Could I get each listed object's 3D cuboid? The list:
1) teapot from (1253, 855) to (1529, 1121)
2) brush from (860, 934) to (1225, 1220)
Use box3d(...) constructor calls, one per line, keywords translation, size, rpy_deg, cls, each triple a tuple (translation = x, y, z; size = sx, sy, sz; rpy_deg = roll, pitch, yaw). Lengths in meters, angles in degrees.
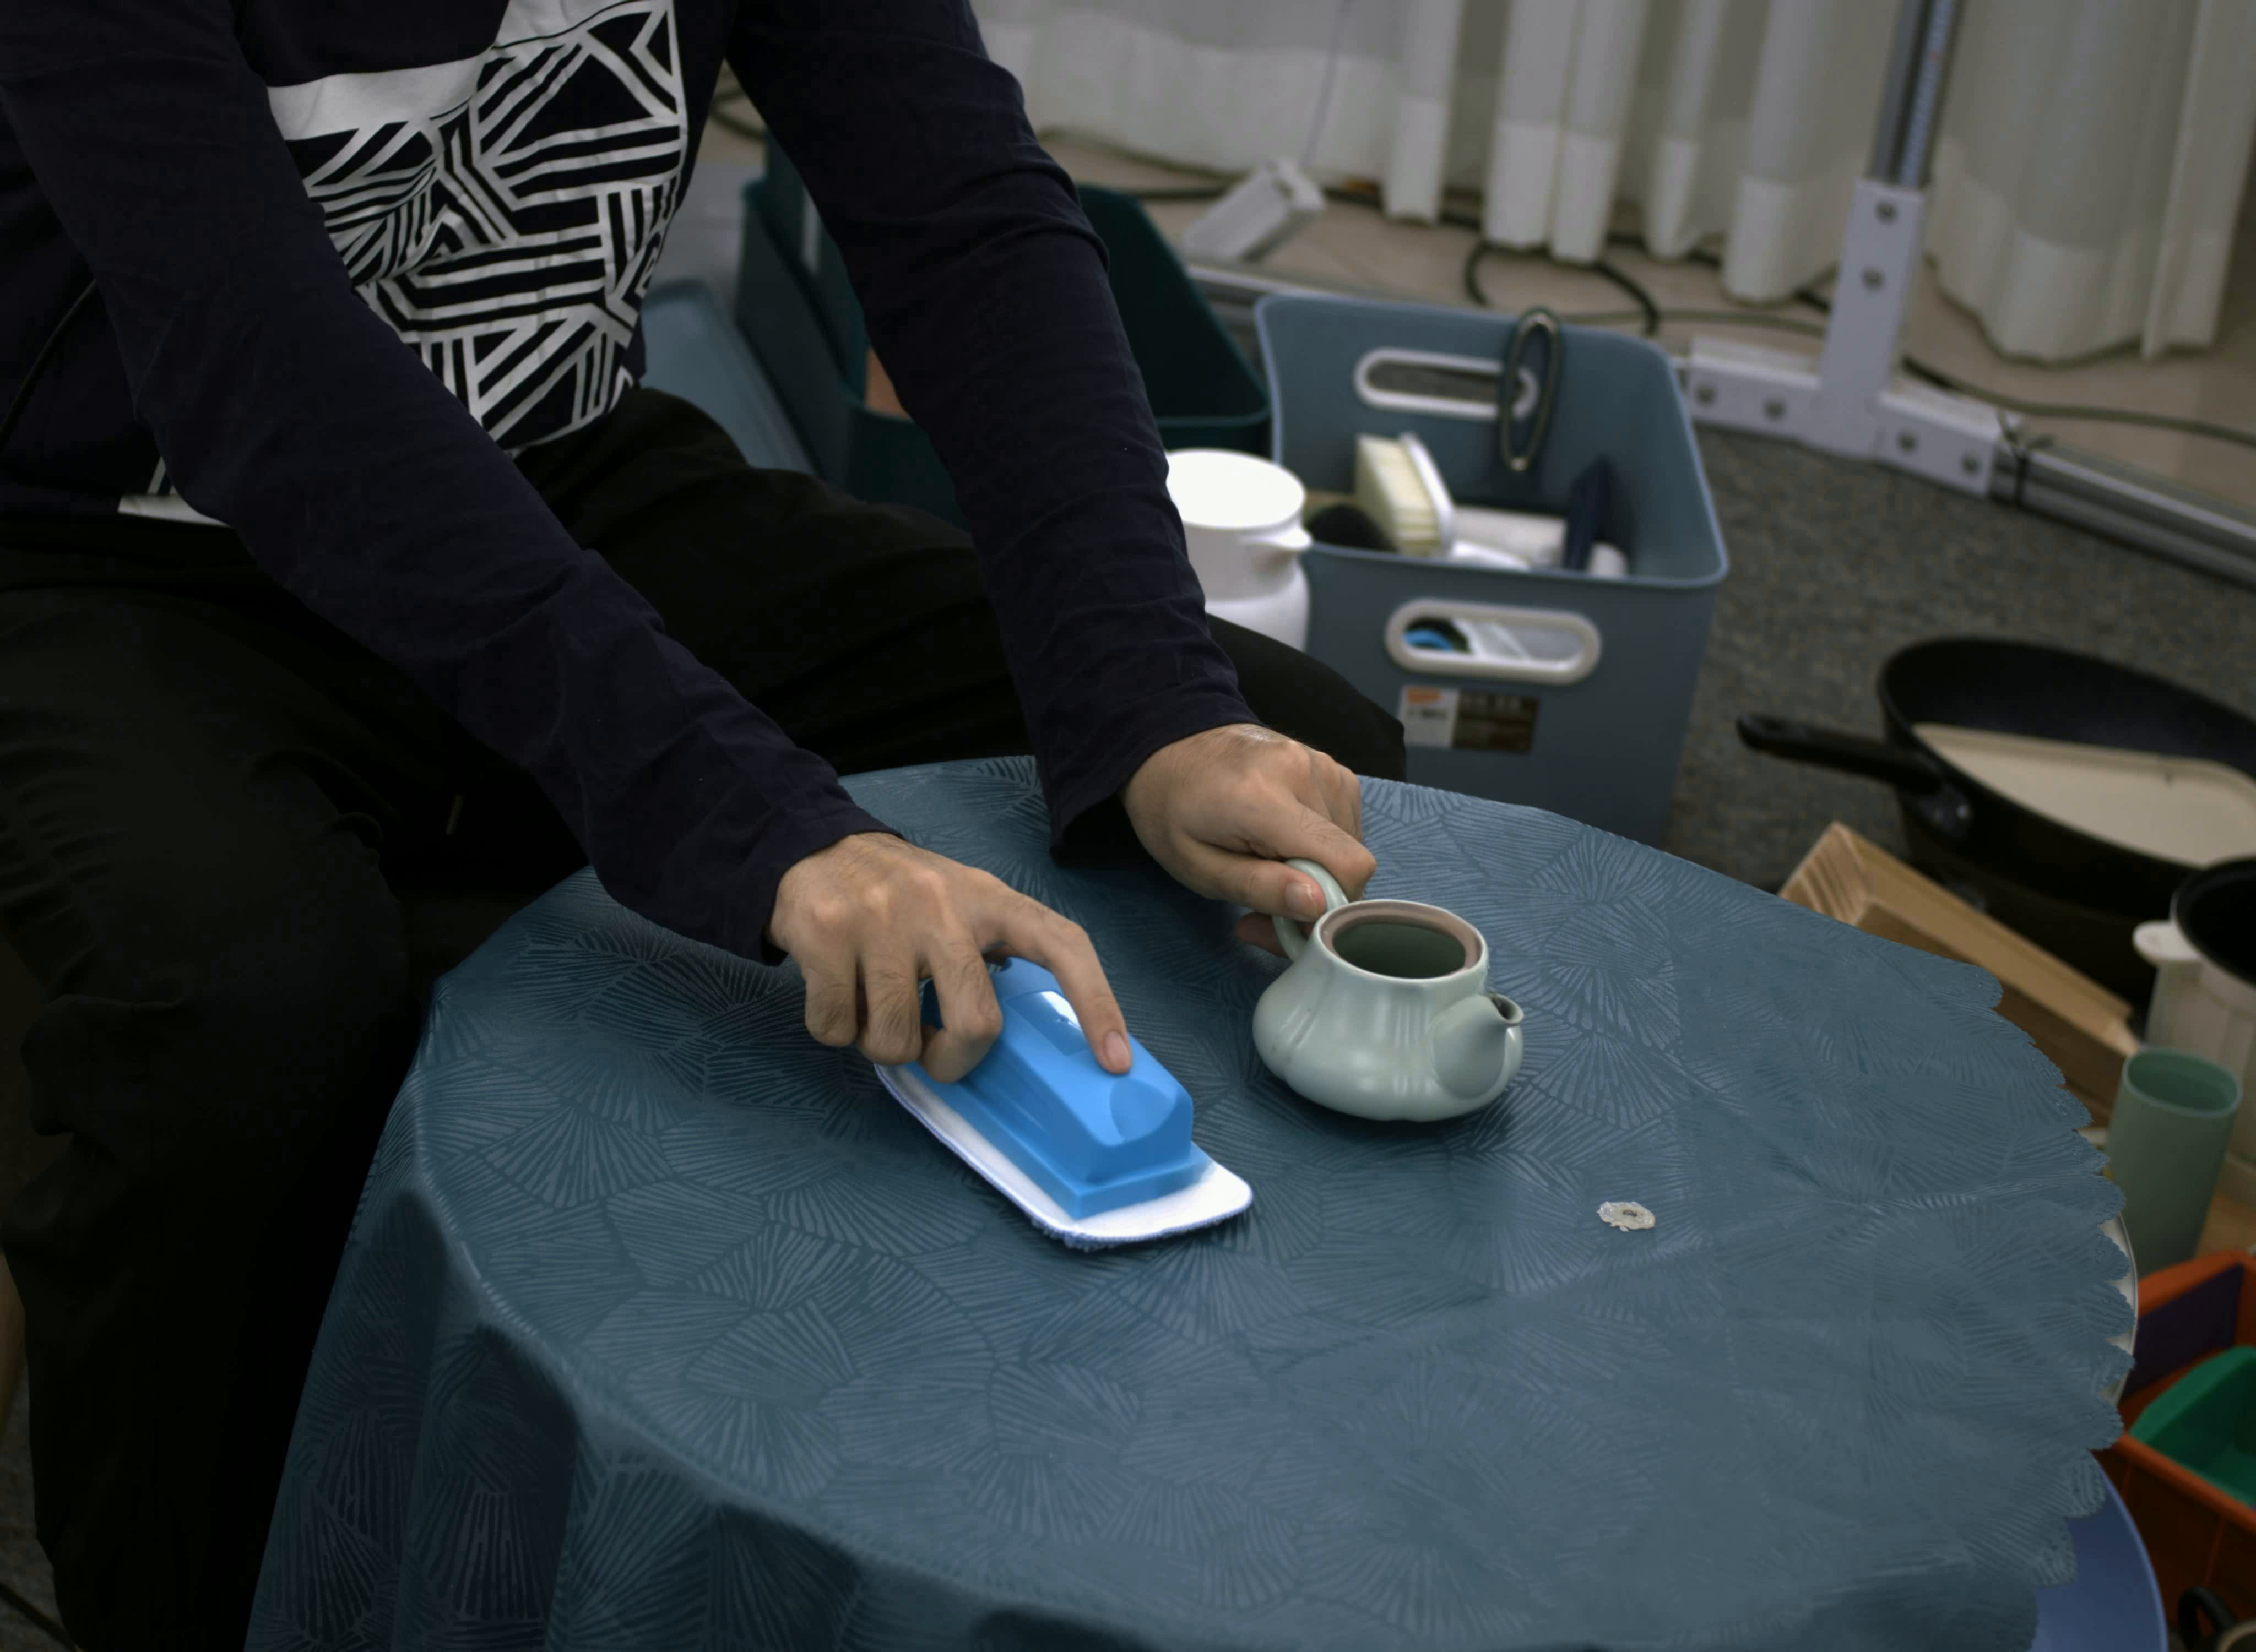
box3d(translation=(0.091, 0.061, 1.884), size=(0.095, 0.061, 0.138), rpy_deg=(-15, 35, -33), cls="teapot")
box3d(translation=(-0.027, 0.081, 1.817), size=(0.083, 0.056, 0.145), rpy_deg=(-6, 32, -31), cls="brush")
